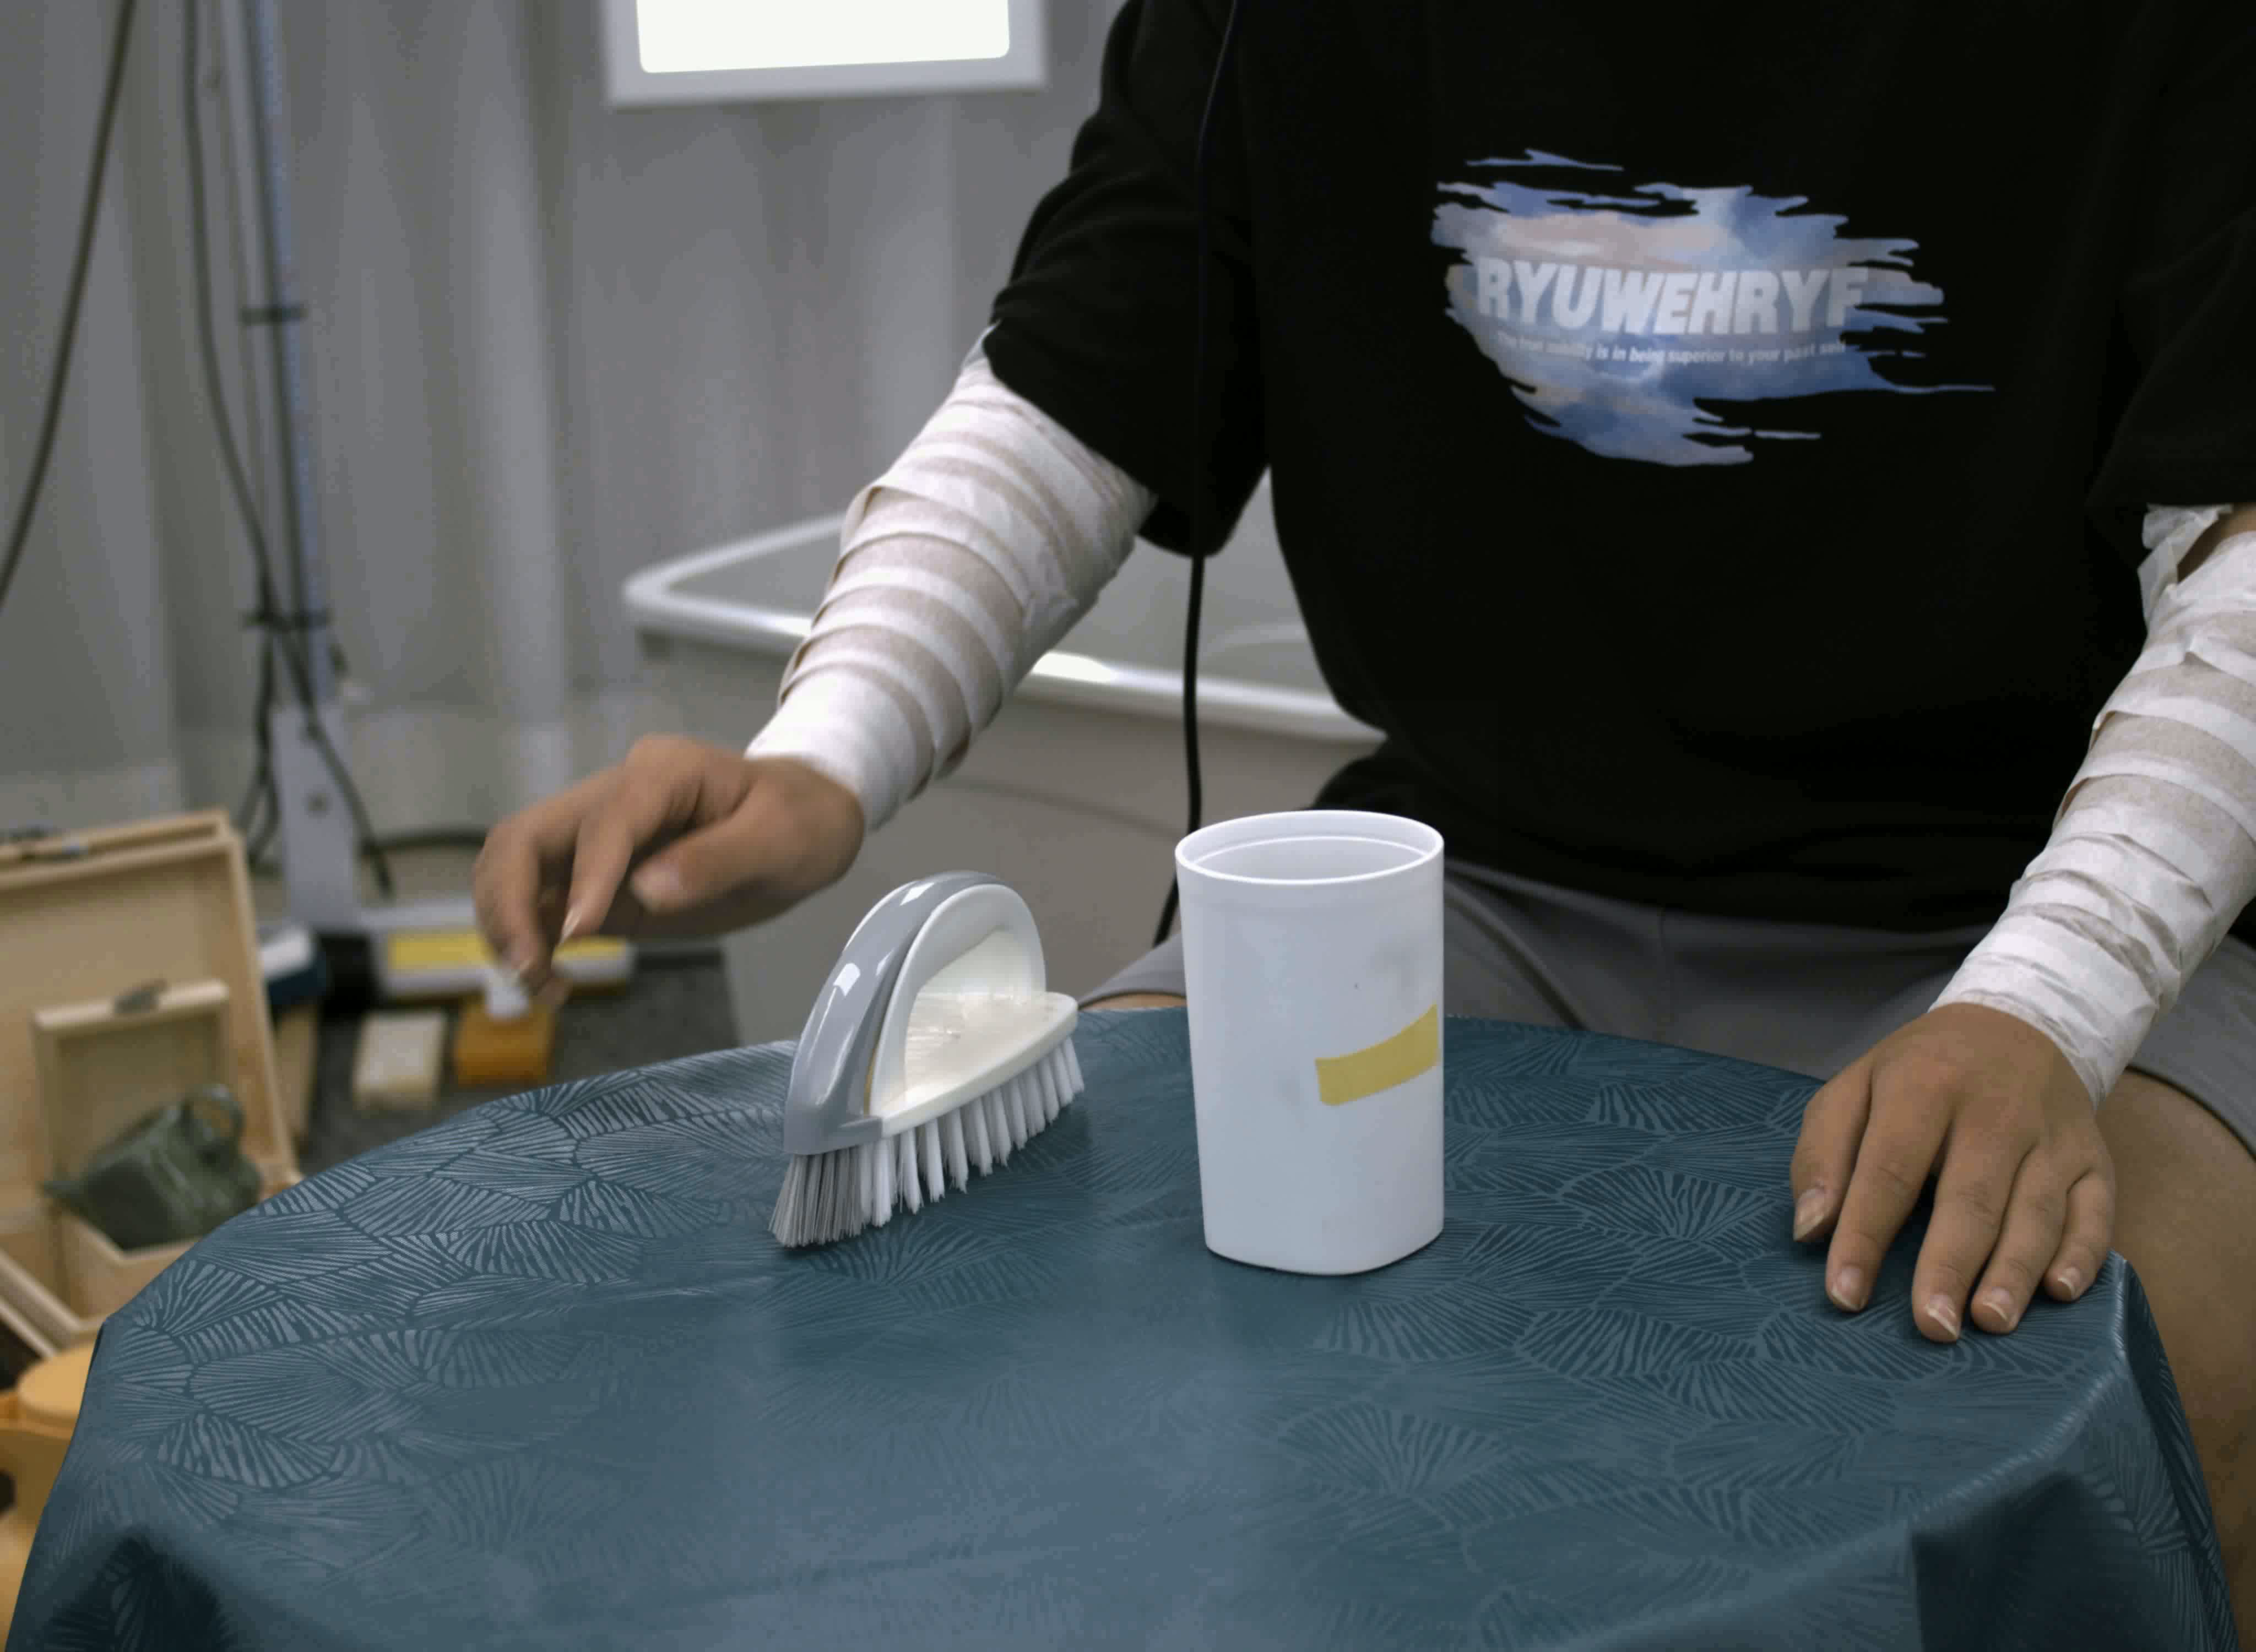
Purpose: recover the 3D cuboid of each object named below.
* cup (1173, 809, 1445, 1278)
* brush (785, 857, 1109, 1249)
[{"bbox_3d":[0.057,0.066,1.646,0.081,0.125,0.082,-4,14,1],"label":"cup"},{"bbox_3d":[-0.067,0.066,1.731,0.061,0.094,0.176,-2,15,25],"label":"brush"}]
